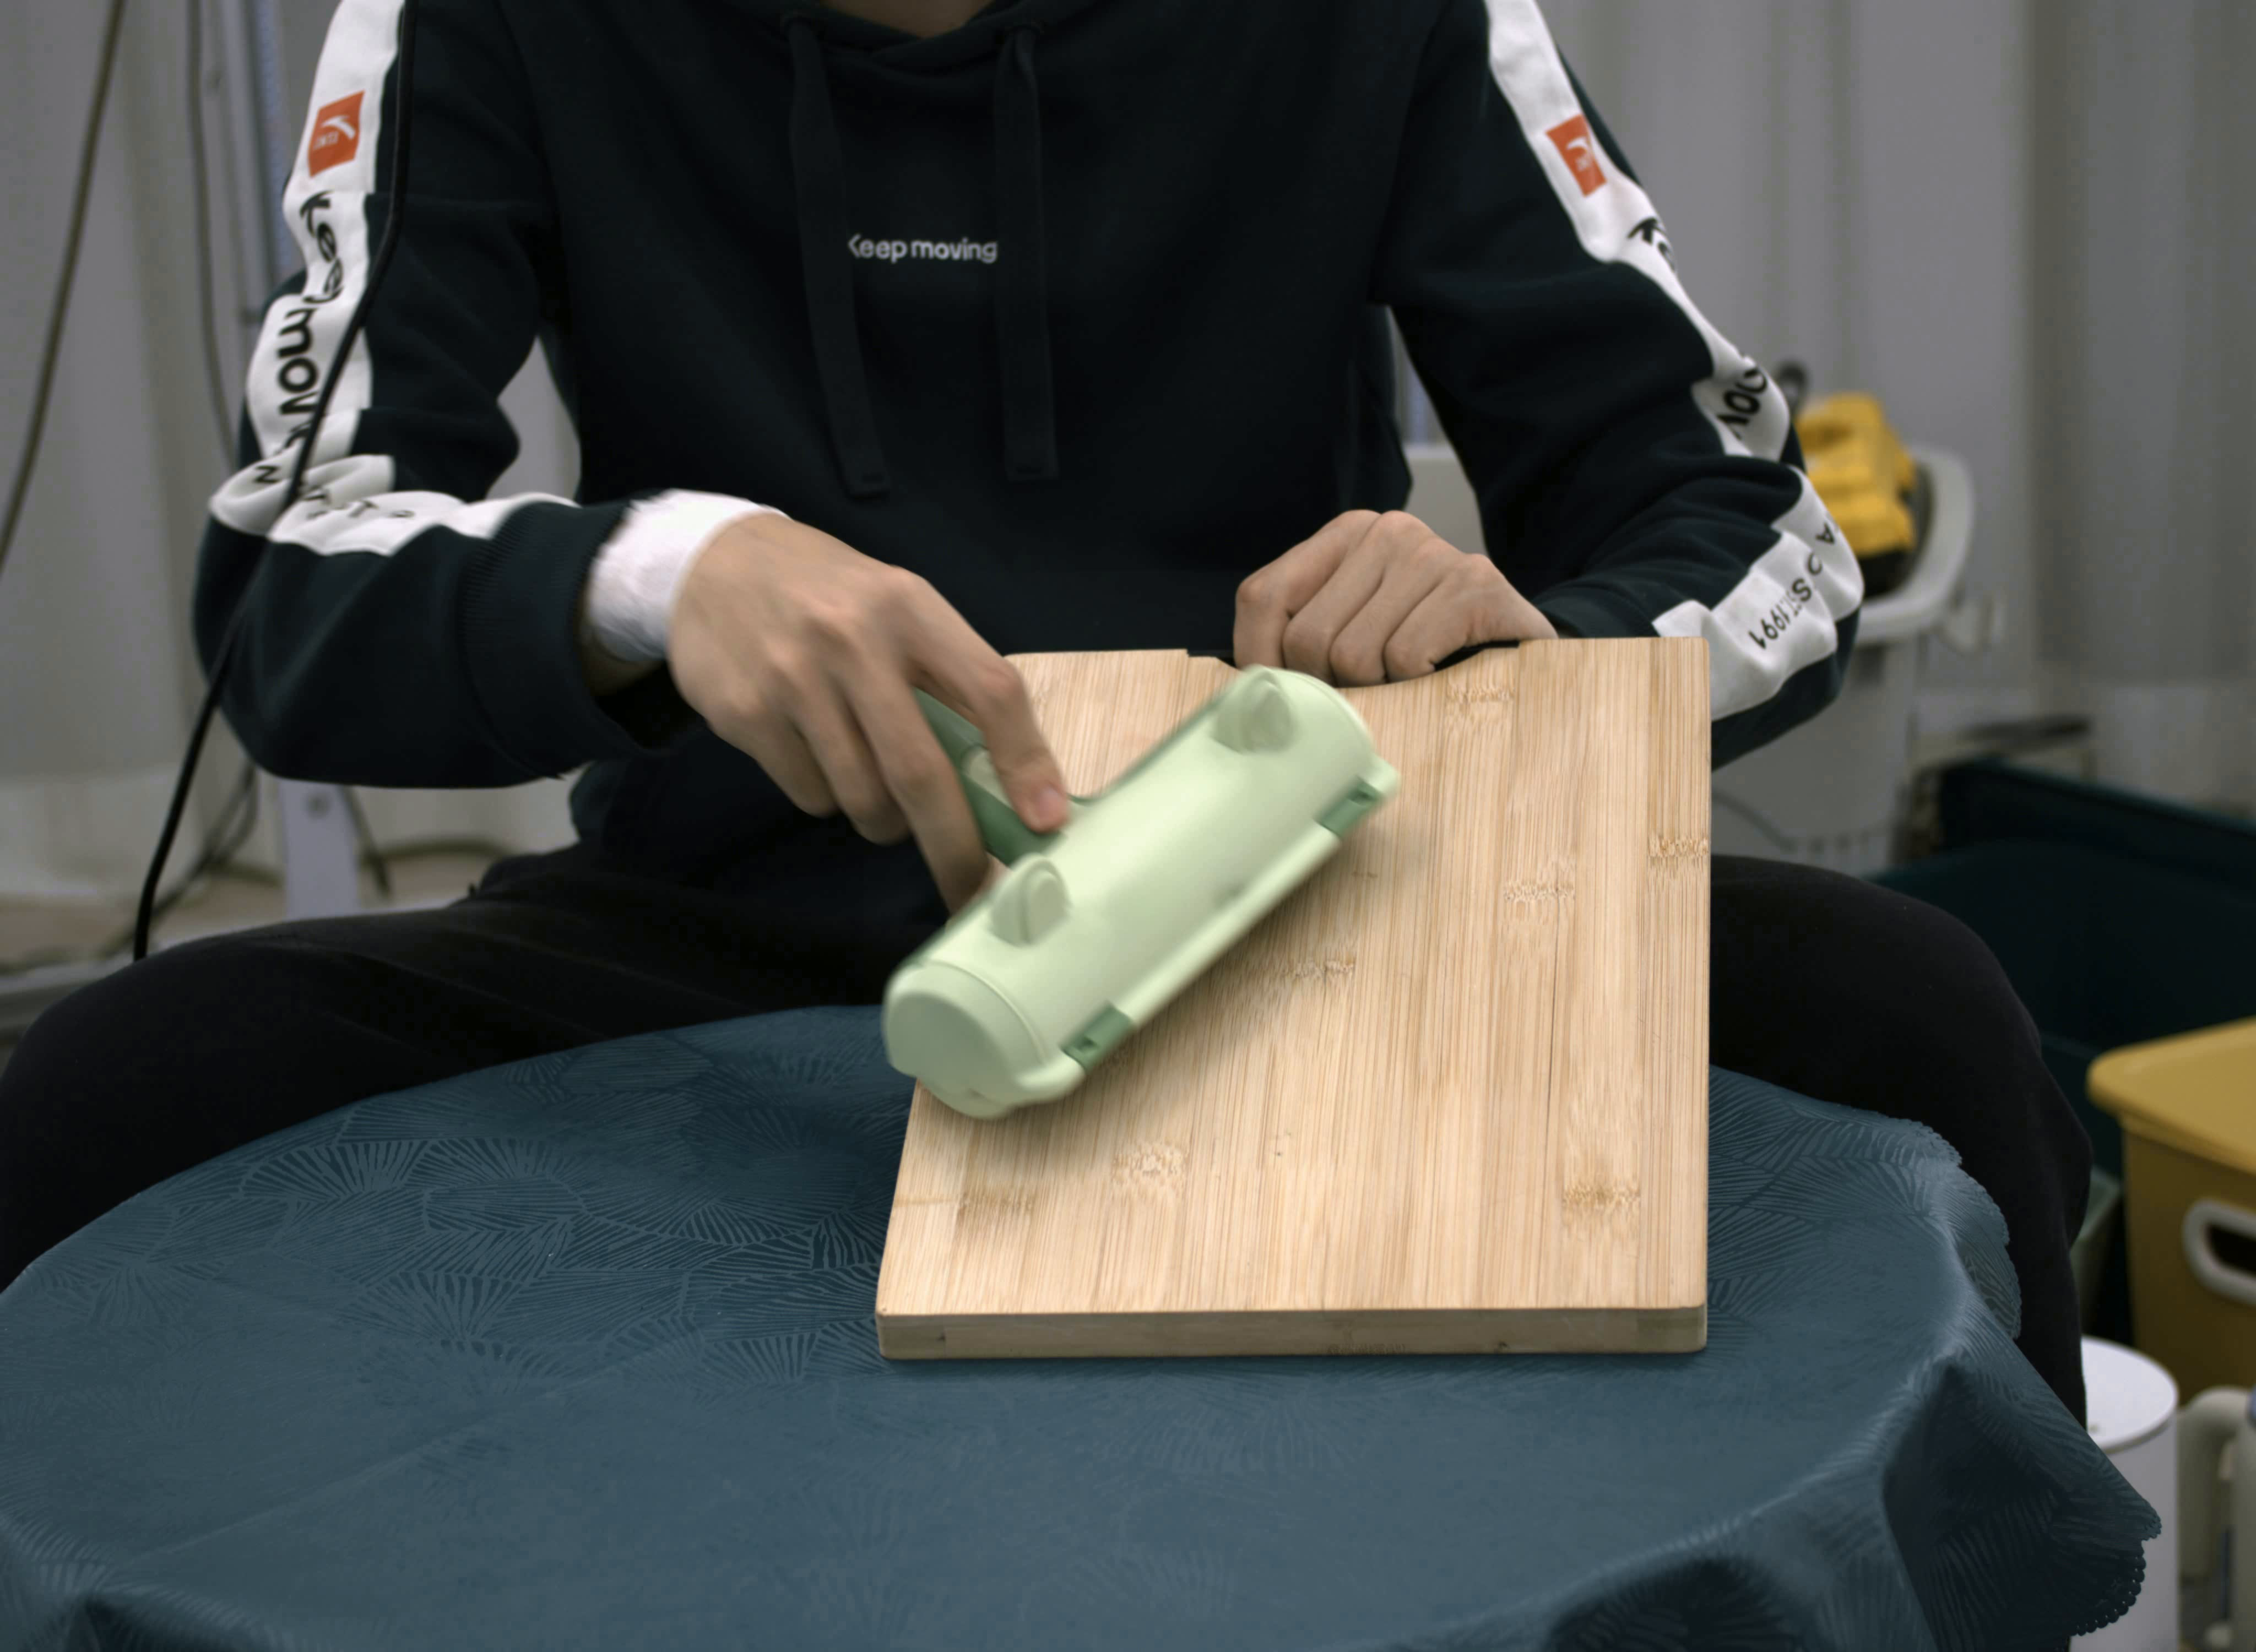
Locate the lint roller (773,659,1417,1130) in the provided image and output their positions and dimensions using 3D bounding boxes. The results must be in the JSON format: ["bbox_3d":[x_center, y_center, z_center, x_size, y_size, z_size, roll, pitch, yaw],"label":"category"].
[{"bbox_3d":[-0.034,-0.015,1.688,0.184,0.081,0.199,36,49,17],"label":"lint roller"}]

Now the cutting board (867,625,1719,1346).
[{"bbox_3d":[0.061,0.044,1.703,0.250,0.023,0.353,-2,35,6],"label":"cutting board"}]
